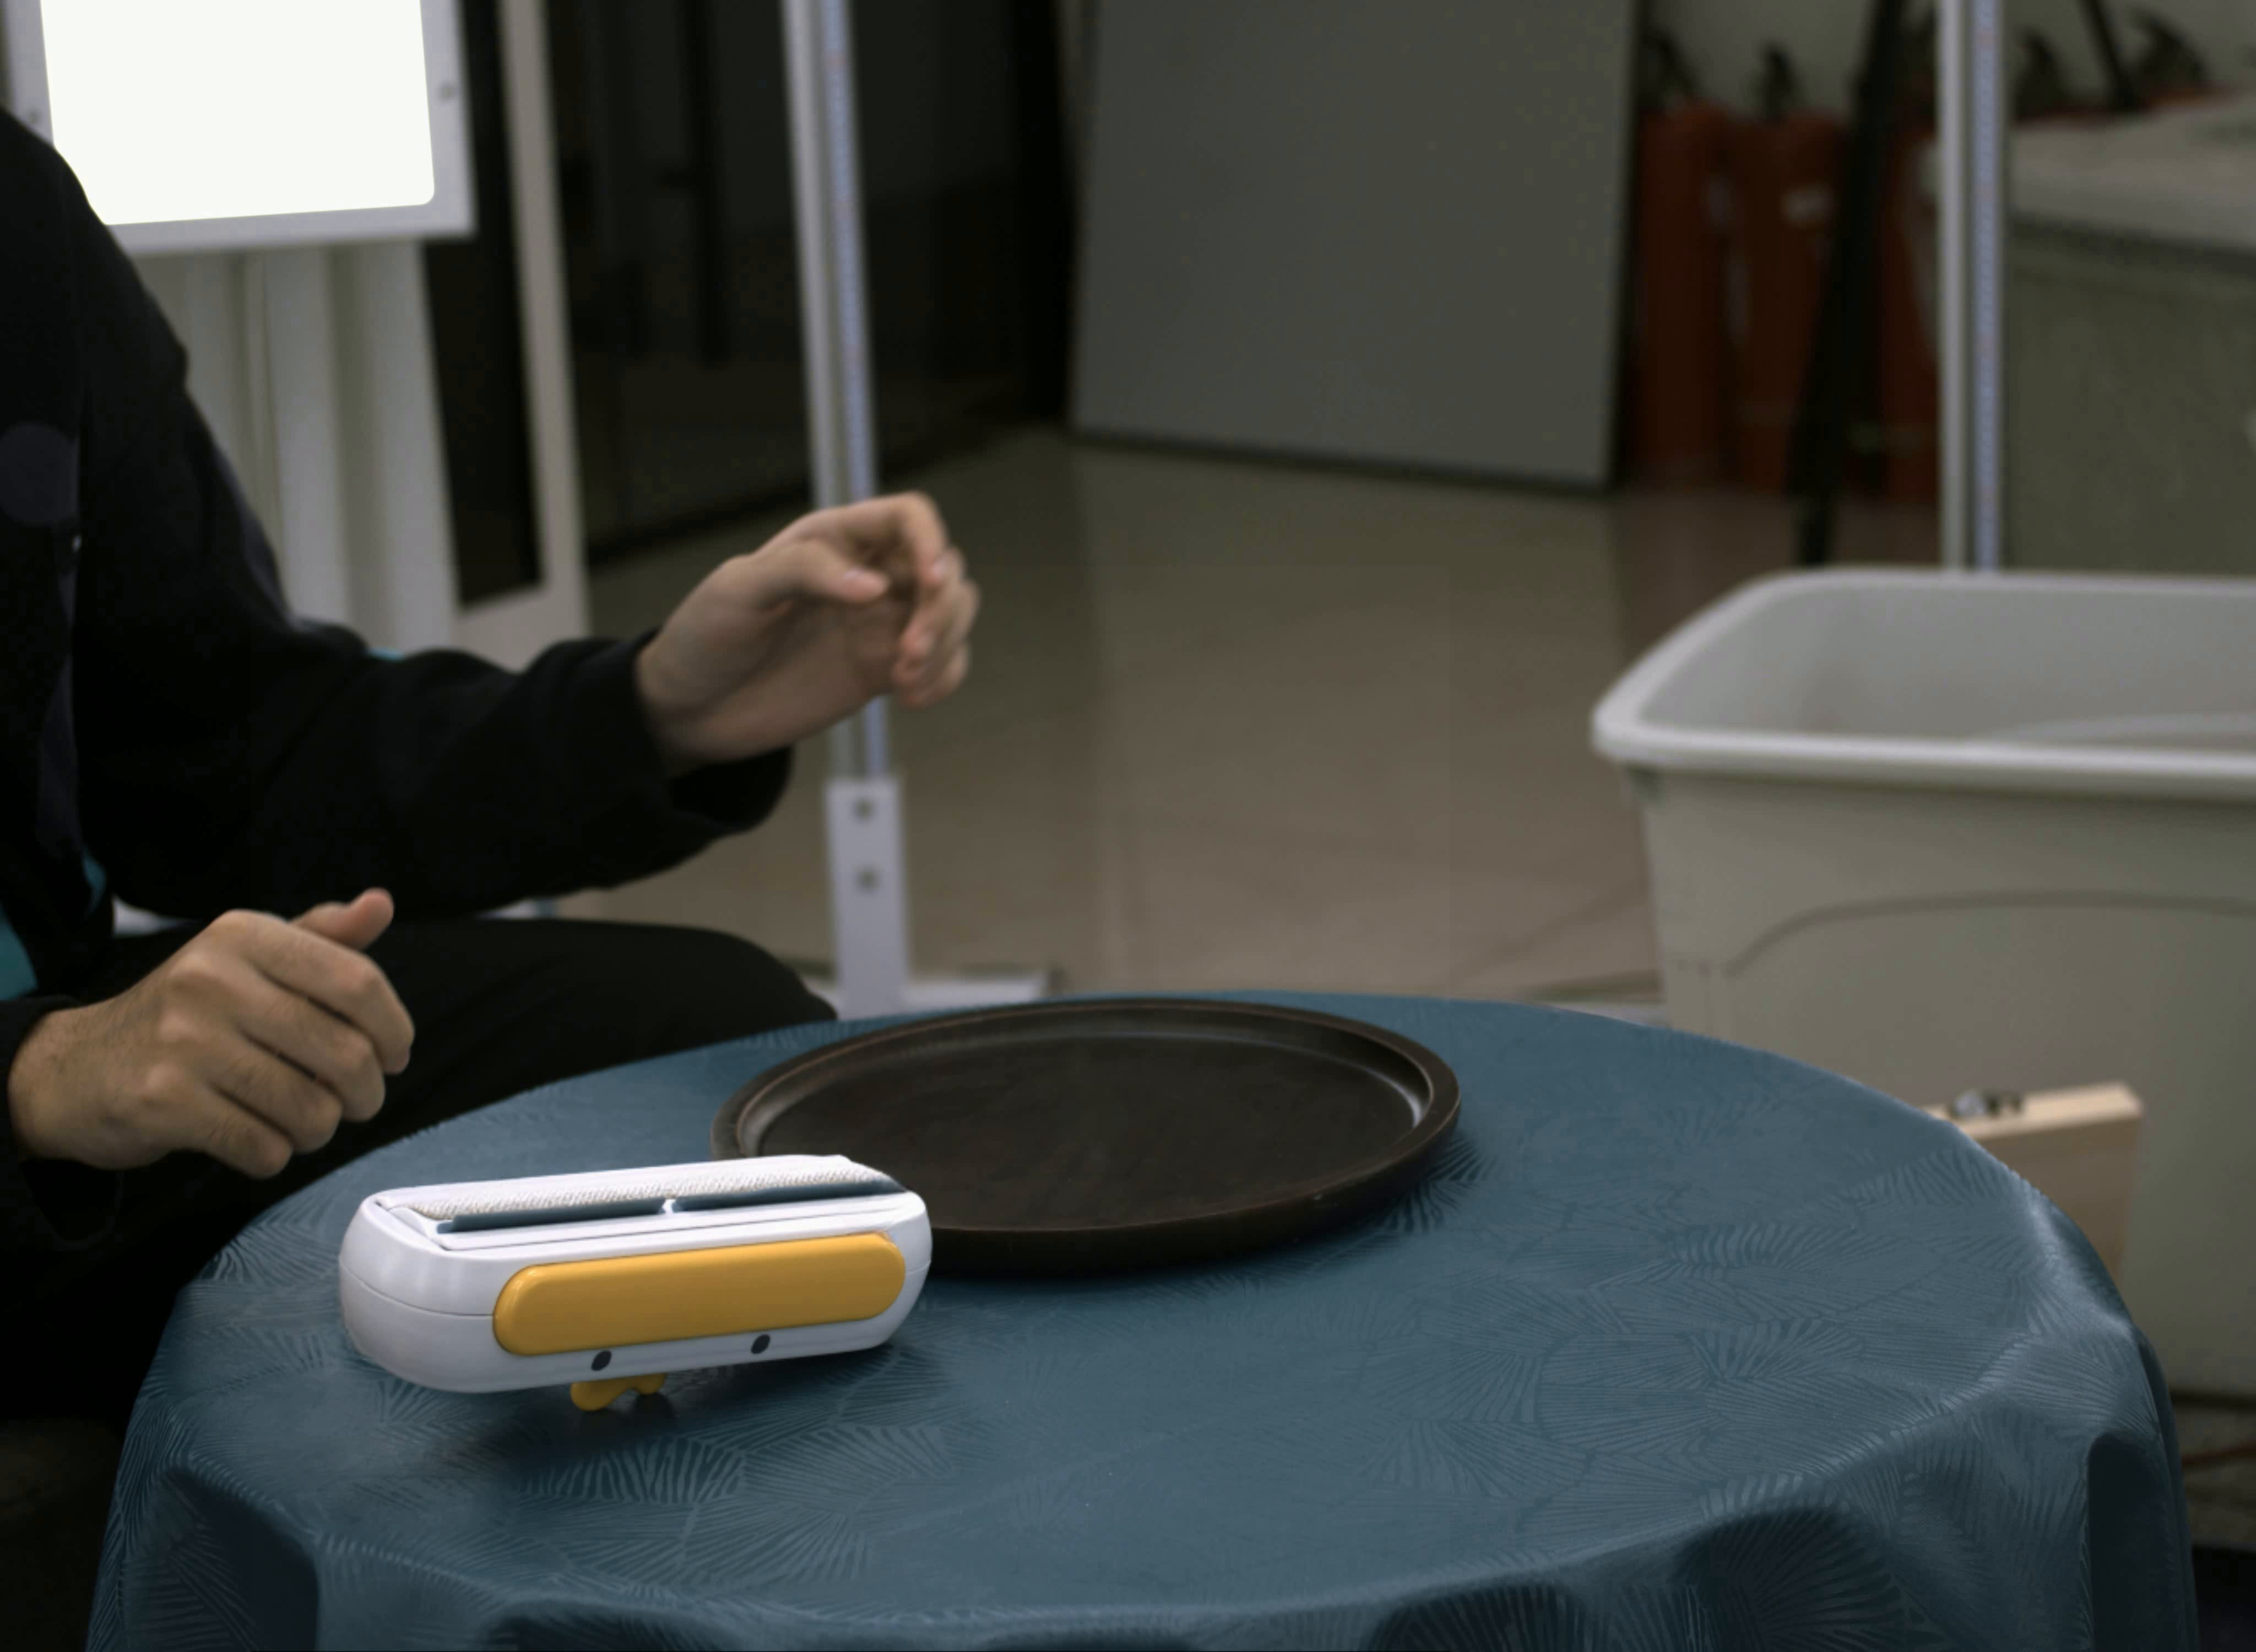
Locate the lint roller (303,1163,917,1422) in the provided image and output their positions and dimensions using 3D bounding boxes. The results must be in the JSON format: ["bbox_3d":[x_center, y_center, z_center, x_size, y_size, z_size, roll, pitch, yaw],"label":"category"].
[{"bbox_3d":[-0.183,0.131,1.644,0.188,0.075,0.194,-7,11,-34],"label":"lint roller"}]

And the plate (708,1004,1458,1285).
[{"bbox_3d":[-0.014,0.104,1.797,0.251,0.029,0.255,-5,13,0],"label":"plate"}]
